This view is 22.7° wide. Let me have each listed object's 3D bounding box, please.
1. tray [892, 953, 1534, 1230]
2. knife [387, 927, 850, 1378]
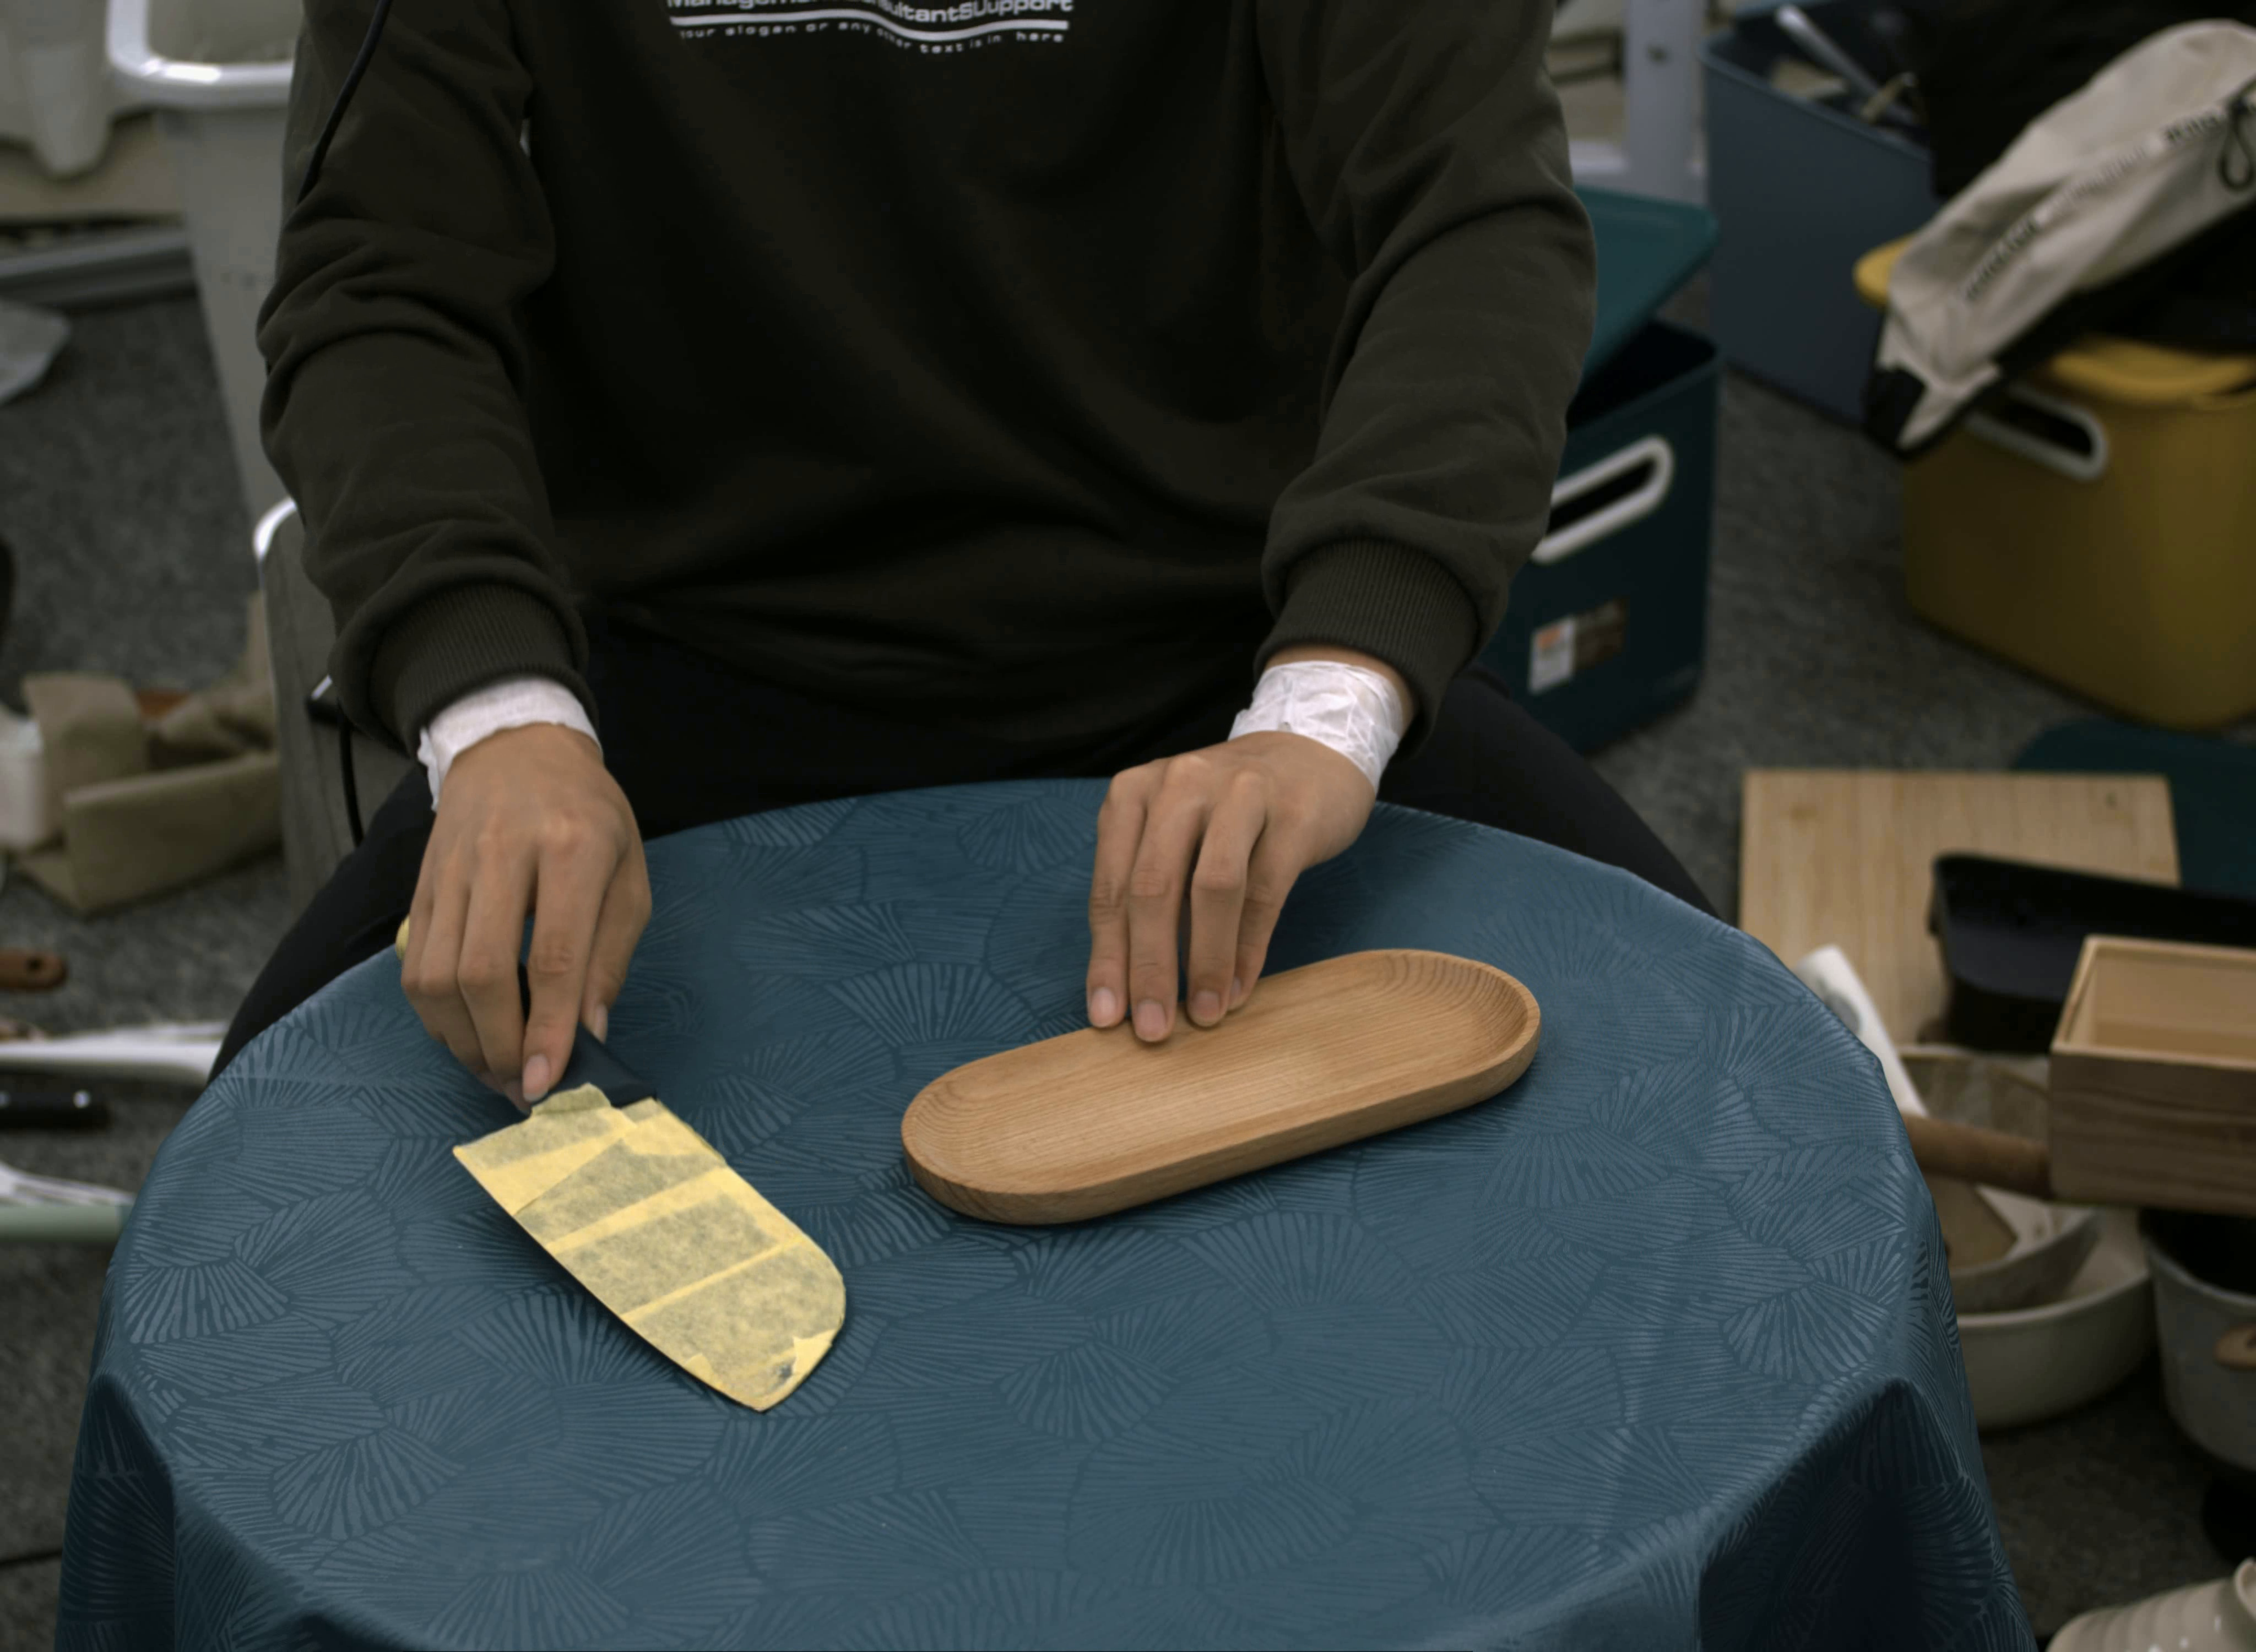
[{"bbox_3d":[0.030,0.090,1.902,0.232,0.020,0.102,-16,27,-22],"label":"tray"},{"bbox_3d":[-0.181,0.109,1.864,0.081,0.027,0.291,-18,36,-29],"label":"knife"}]
